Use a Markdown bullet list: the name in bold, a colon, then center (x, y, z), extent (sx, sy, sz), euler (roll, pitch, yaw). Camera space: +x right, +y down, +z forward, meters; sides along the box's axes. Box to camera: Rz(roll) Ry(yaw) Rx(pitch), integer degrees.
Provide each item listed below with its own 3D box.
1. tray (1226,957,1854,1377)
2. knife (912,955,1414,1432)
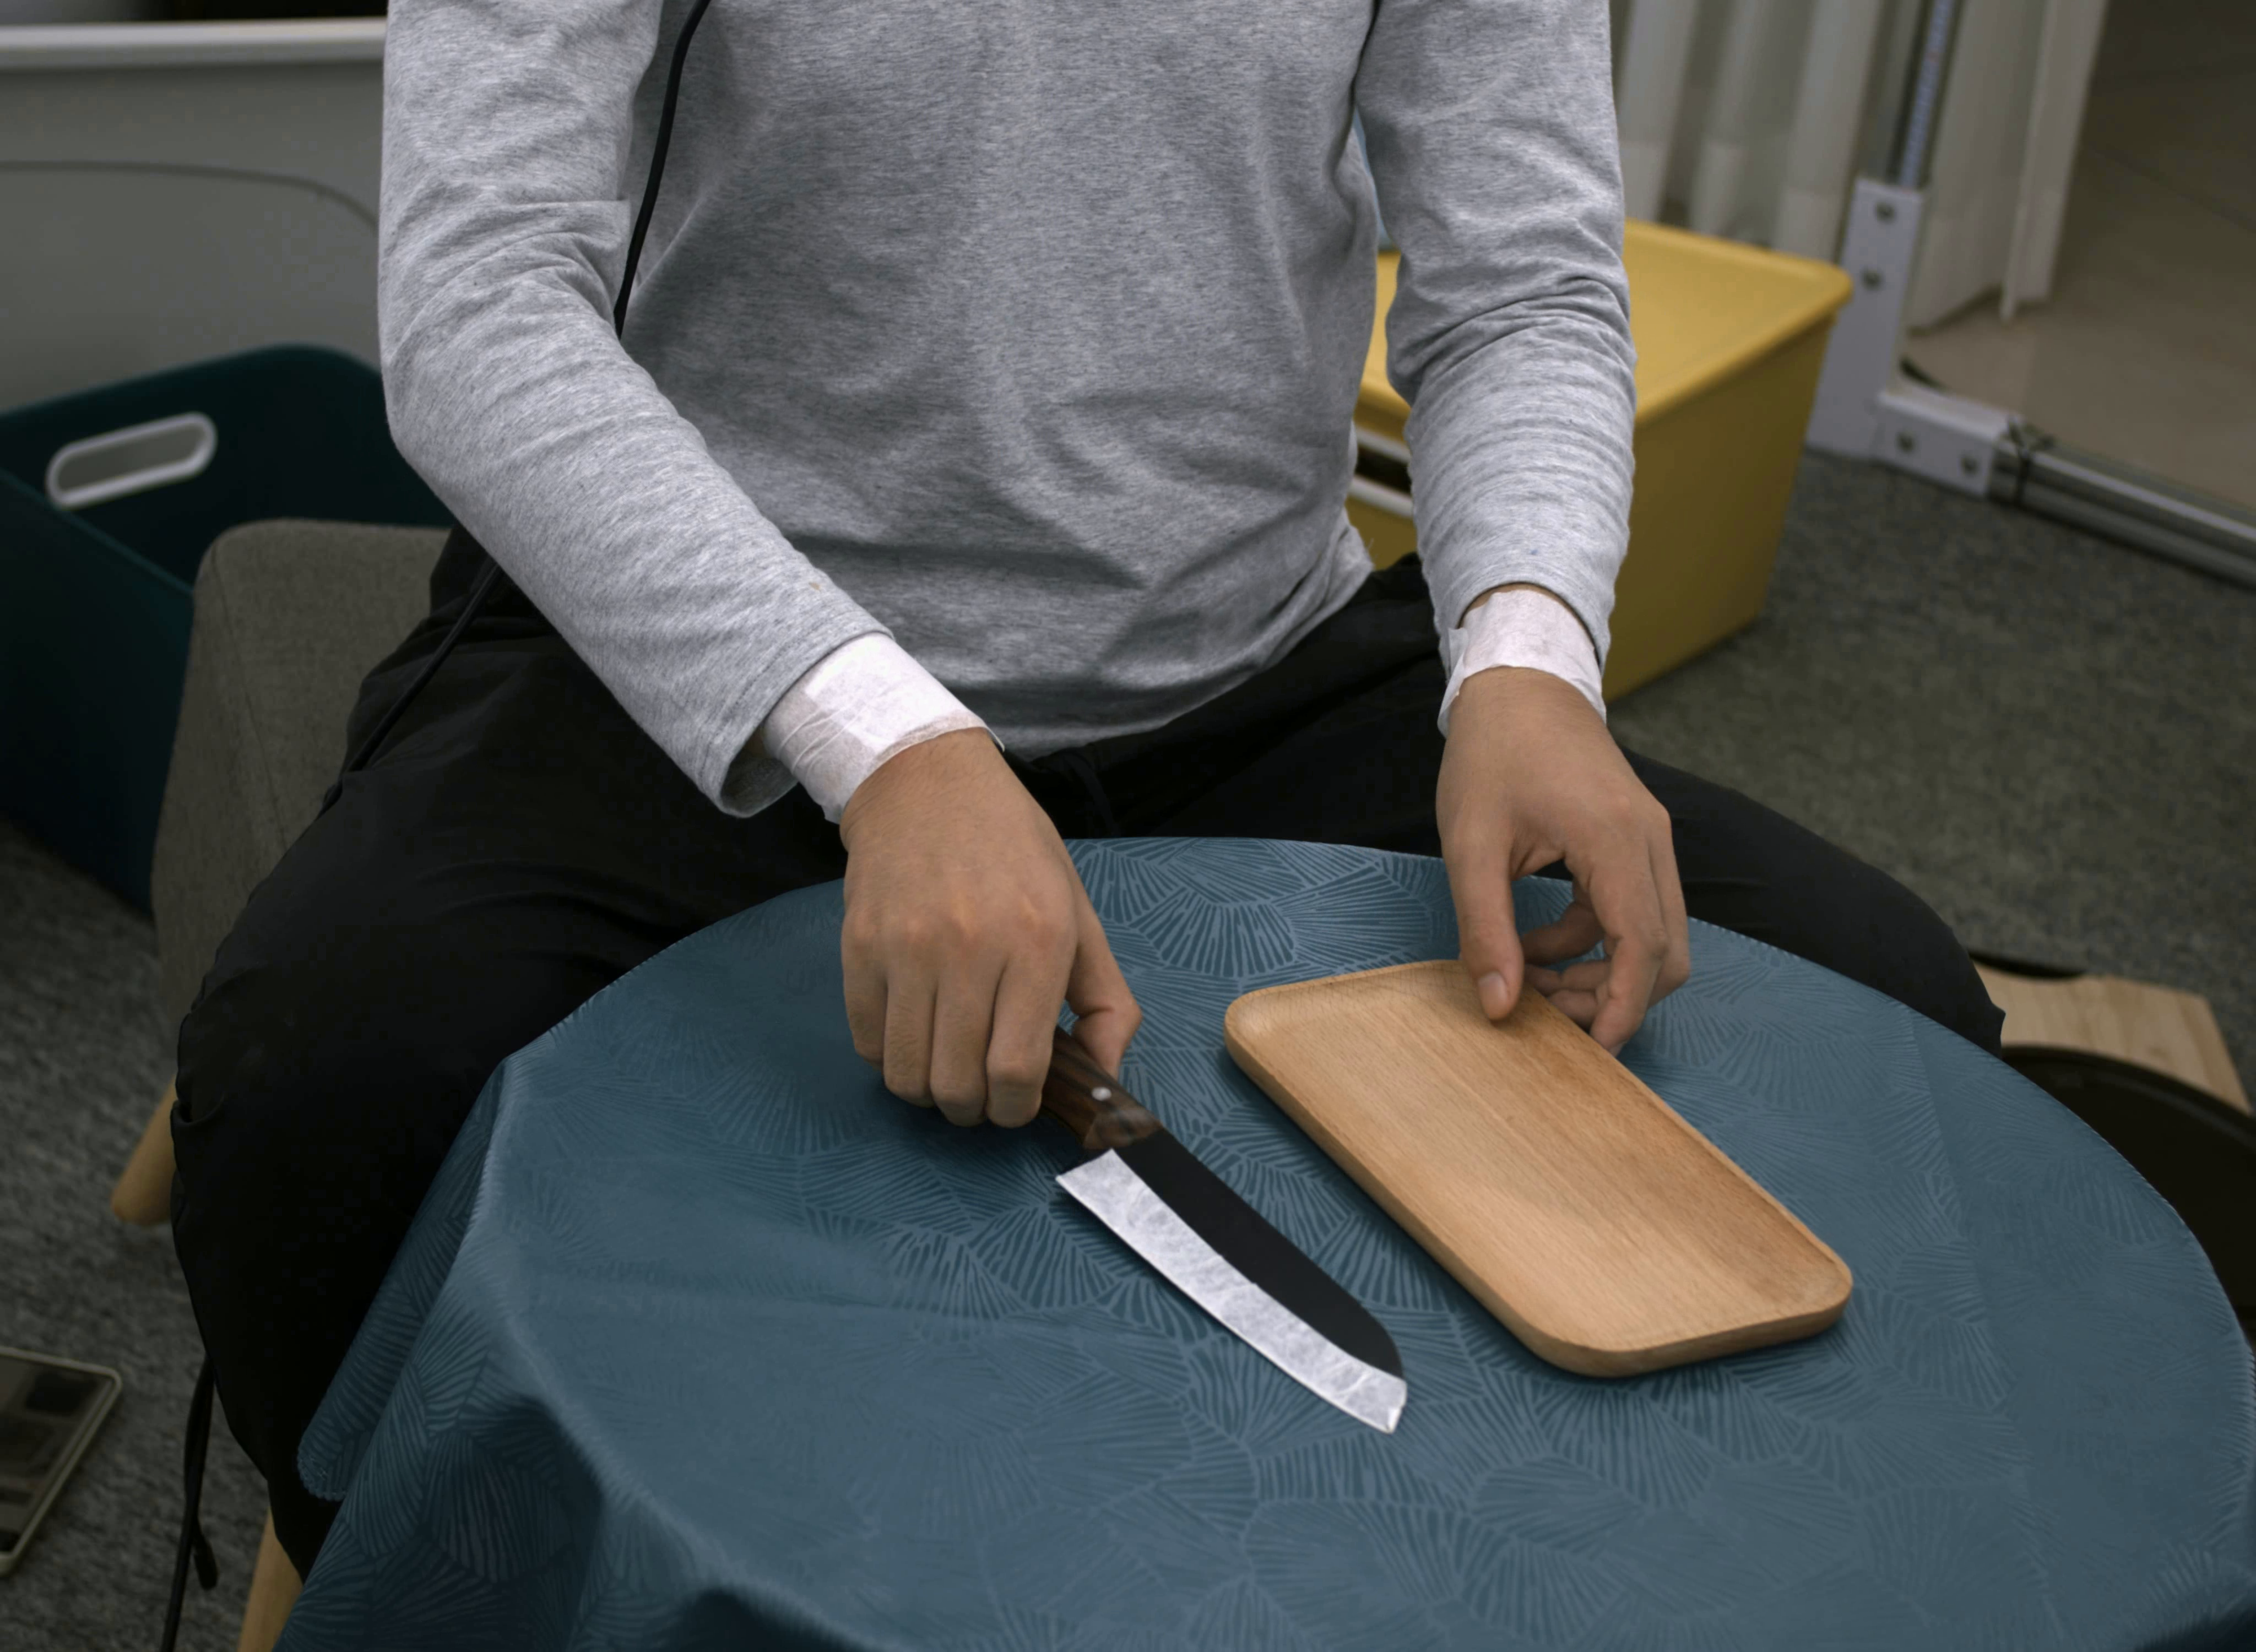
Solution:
- **tray**: center (0.138, 0.115, 1.837), extent (0.129, 0.023, 0.253), euler (-6, 28, -27)
- **knife**: center (0.009, 0.122, 1.789), extent (0.050, 0.020, 0.292), euler (-23, 40, -24)
